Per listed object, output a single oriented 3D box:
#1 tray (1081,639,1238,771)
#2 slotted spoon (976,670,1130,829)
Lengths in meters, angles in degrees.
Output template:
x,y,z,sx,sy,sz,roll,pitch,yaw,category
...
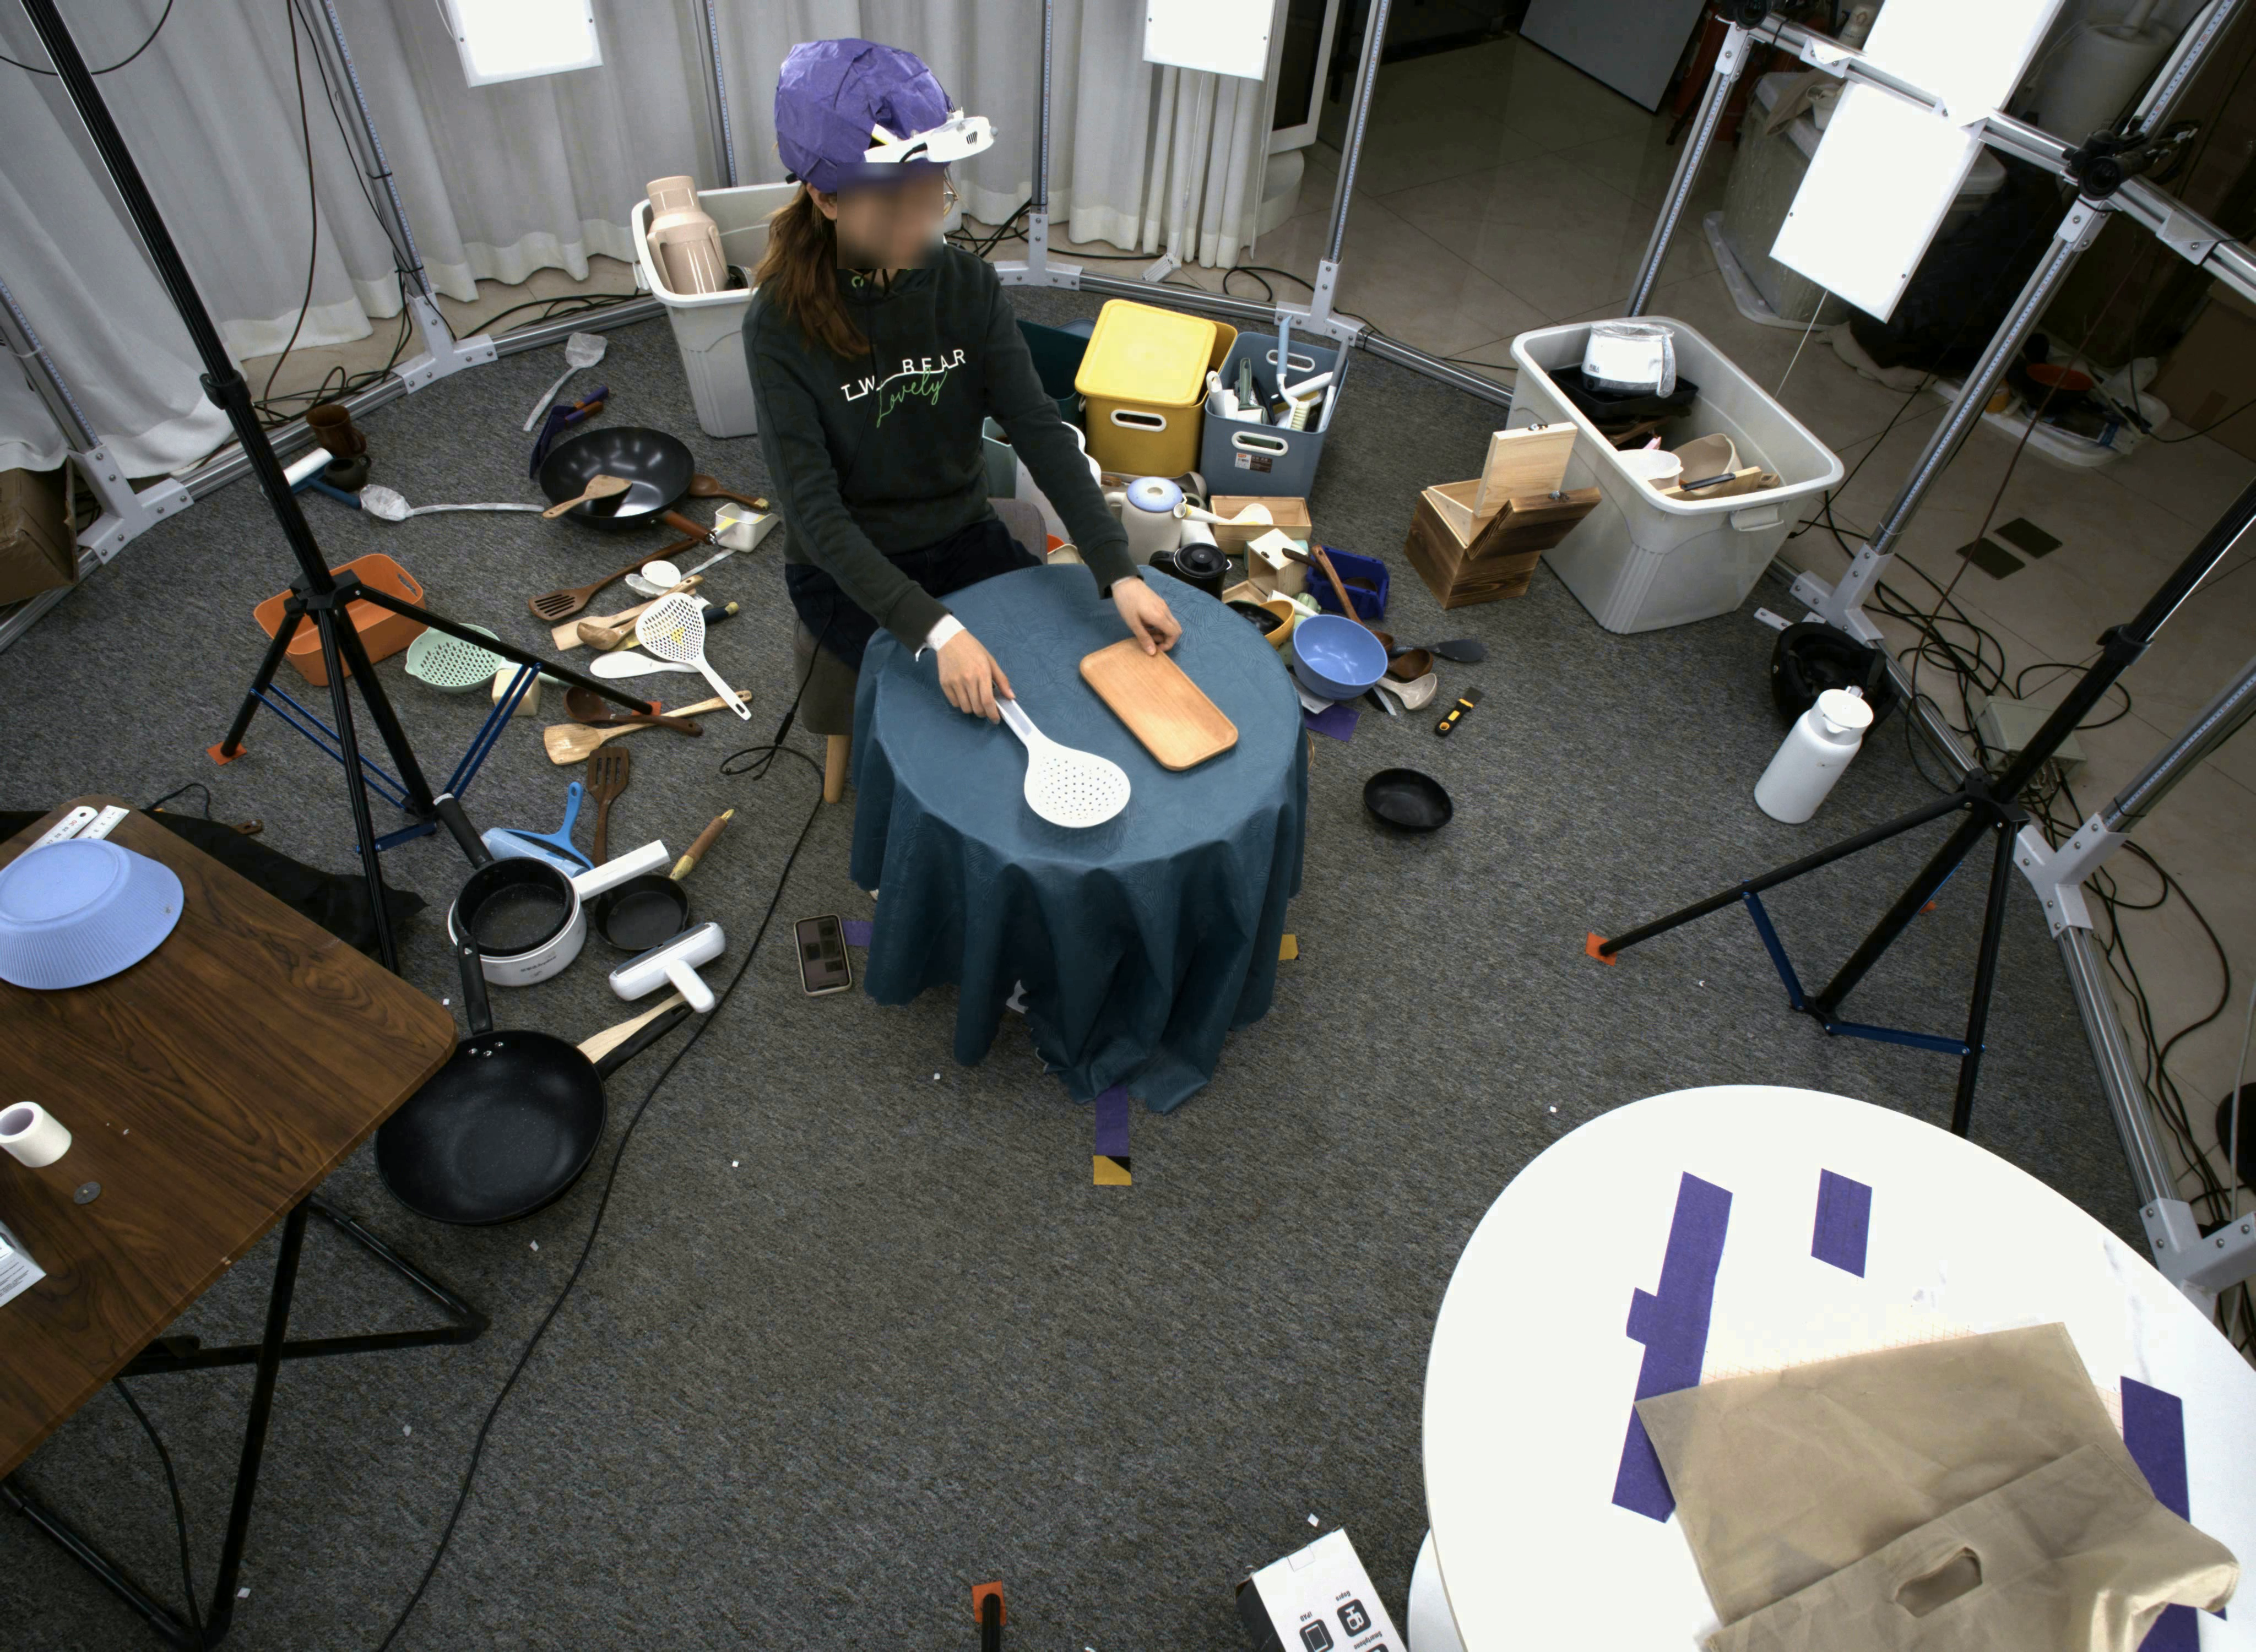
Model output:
x,y,z,sx,sy,sz,roll,pitch,yaw,category
0.042,-0.176,1.829,0.131,0.022,0.256,-23,53,-24,tray
-0.121,-0.109,1.741,0.136,0.044,0.357,-20,52,-23,slotted spoon
